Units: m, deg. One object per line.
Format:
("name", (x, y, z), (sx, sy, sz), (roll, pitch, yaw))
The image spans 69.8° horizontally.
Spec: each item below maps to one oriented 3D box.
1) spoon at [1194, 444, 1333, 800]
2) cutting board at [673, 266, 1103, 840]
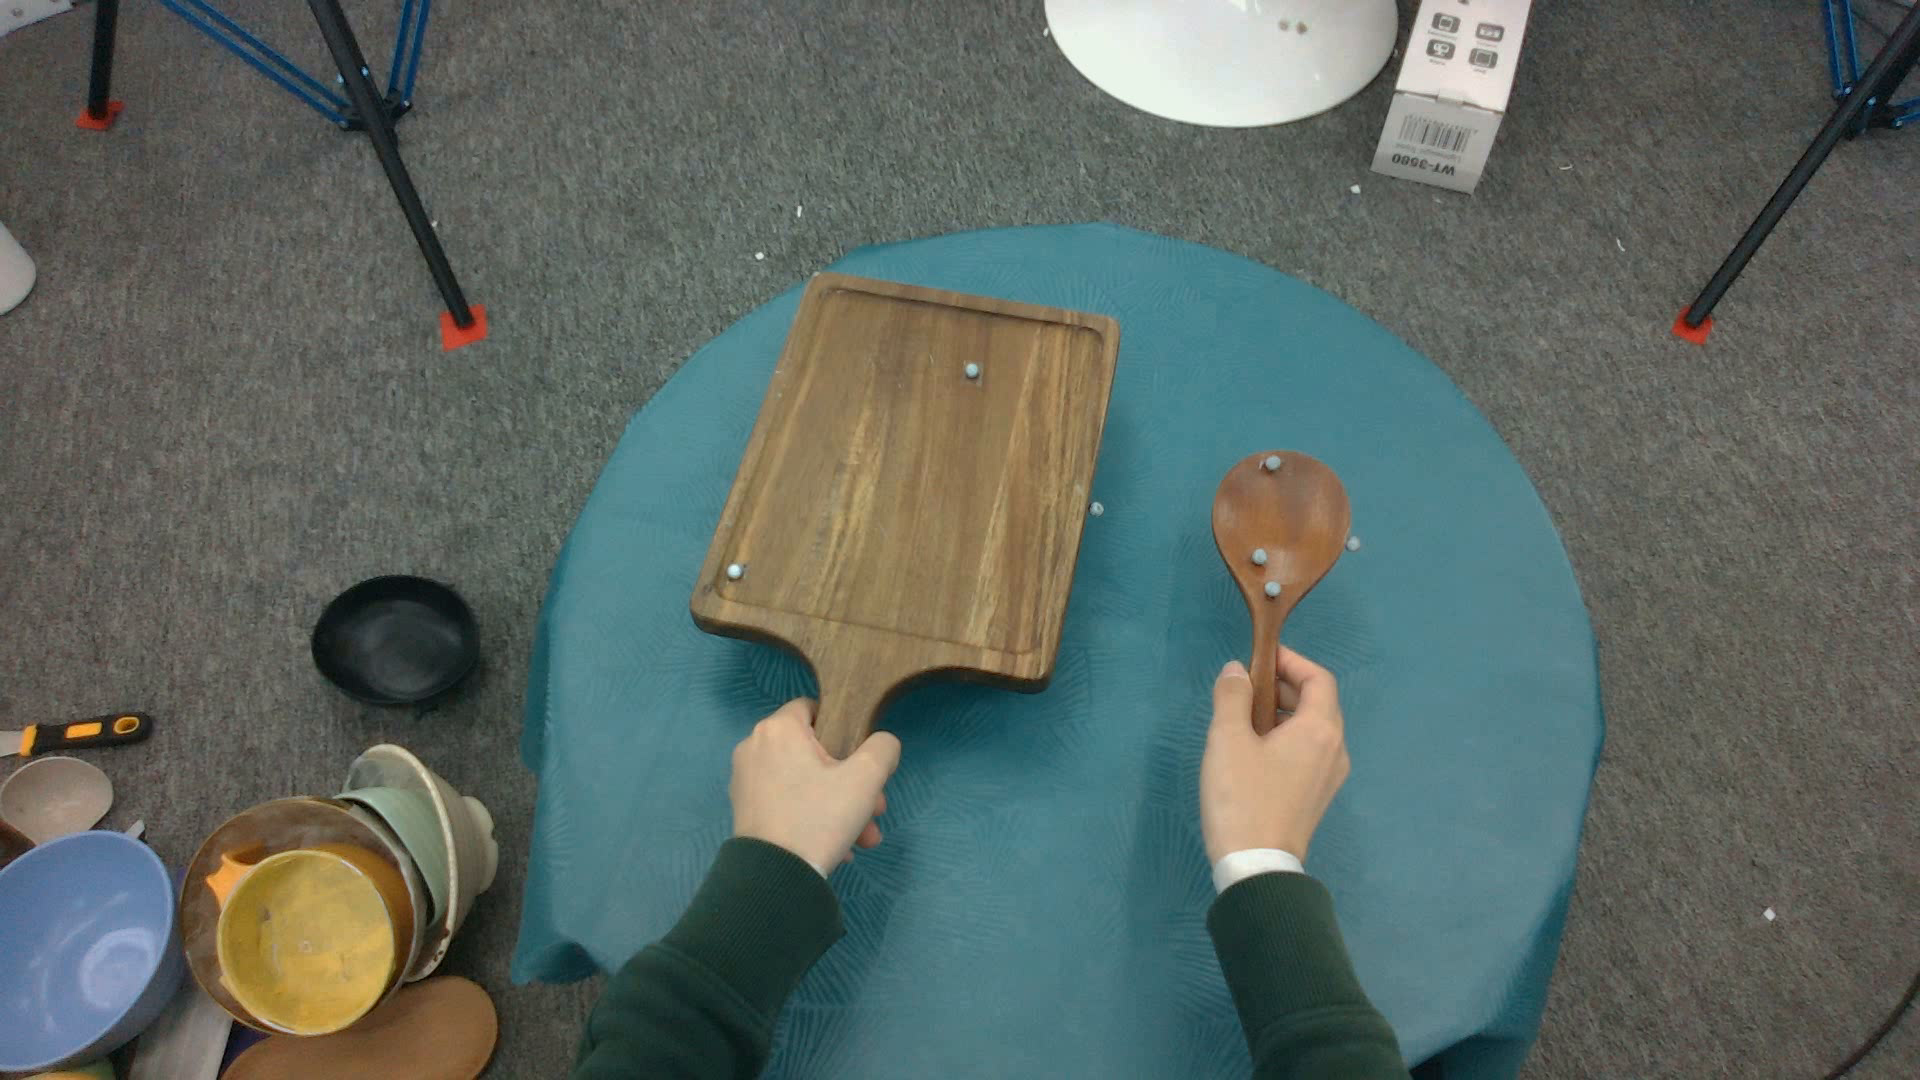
("spoon", (0.152, 0.036, 0.715), (0.075, 0.017, 0.217), (10, 55, 7))
("cutting board", (-0.042, -0.006, 0.754), (0.201, 0.023, 0.354), (10, 58, 5))
